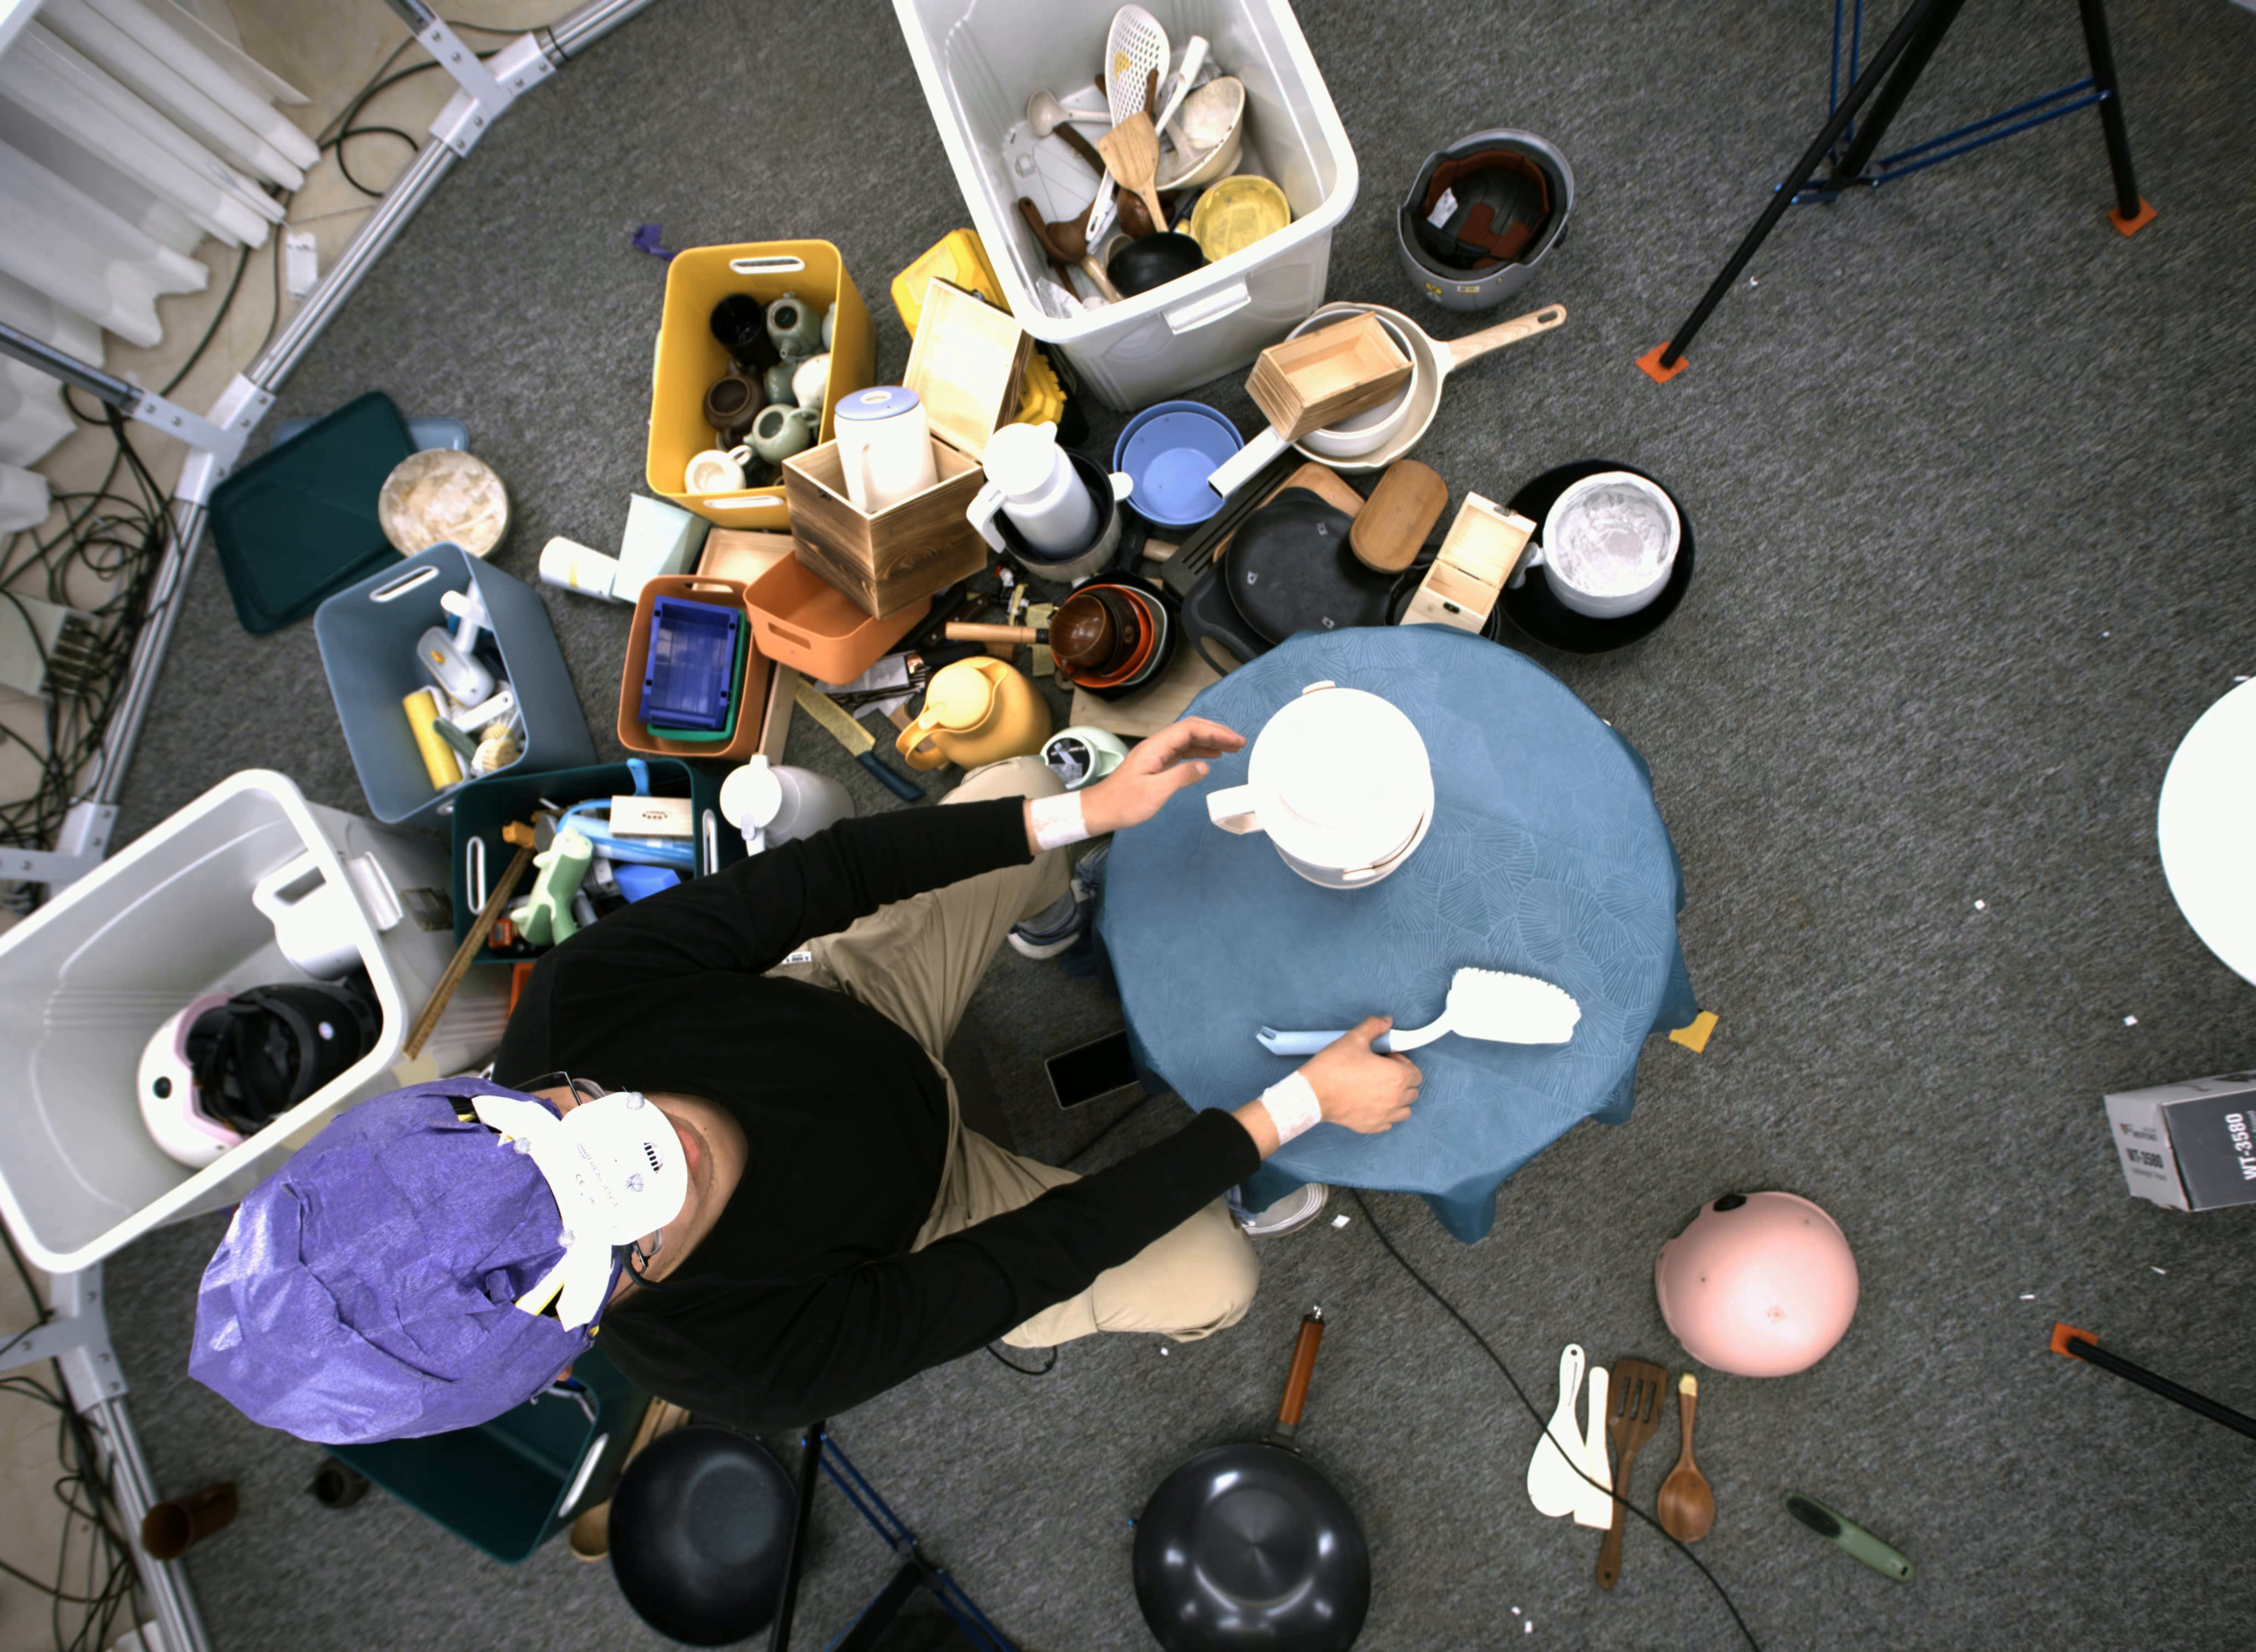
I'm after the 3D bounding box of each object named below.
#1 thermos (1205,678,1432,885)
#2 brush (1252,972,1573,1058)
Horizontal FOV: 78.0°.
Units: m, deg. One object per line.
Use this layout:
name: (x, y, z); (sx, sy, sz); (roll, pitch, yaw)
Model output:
thermos: (0.181, -0.034, 1.281); (0.208, 0.406, 0.174); (-13, 84, 8)
brush: (0.287, 0.191, 1.412); (0.327, 0.083, 0.084); (-3, 85, 10)
